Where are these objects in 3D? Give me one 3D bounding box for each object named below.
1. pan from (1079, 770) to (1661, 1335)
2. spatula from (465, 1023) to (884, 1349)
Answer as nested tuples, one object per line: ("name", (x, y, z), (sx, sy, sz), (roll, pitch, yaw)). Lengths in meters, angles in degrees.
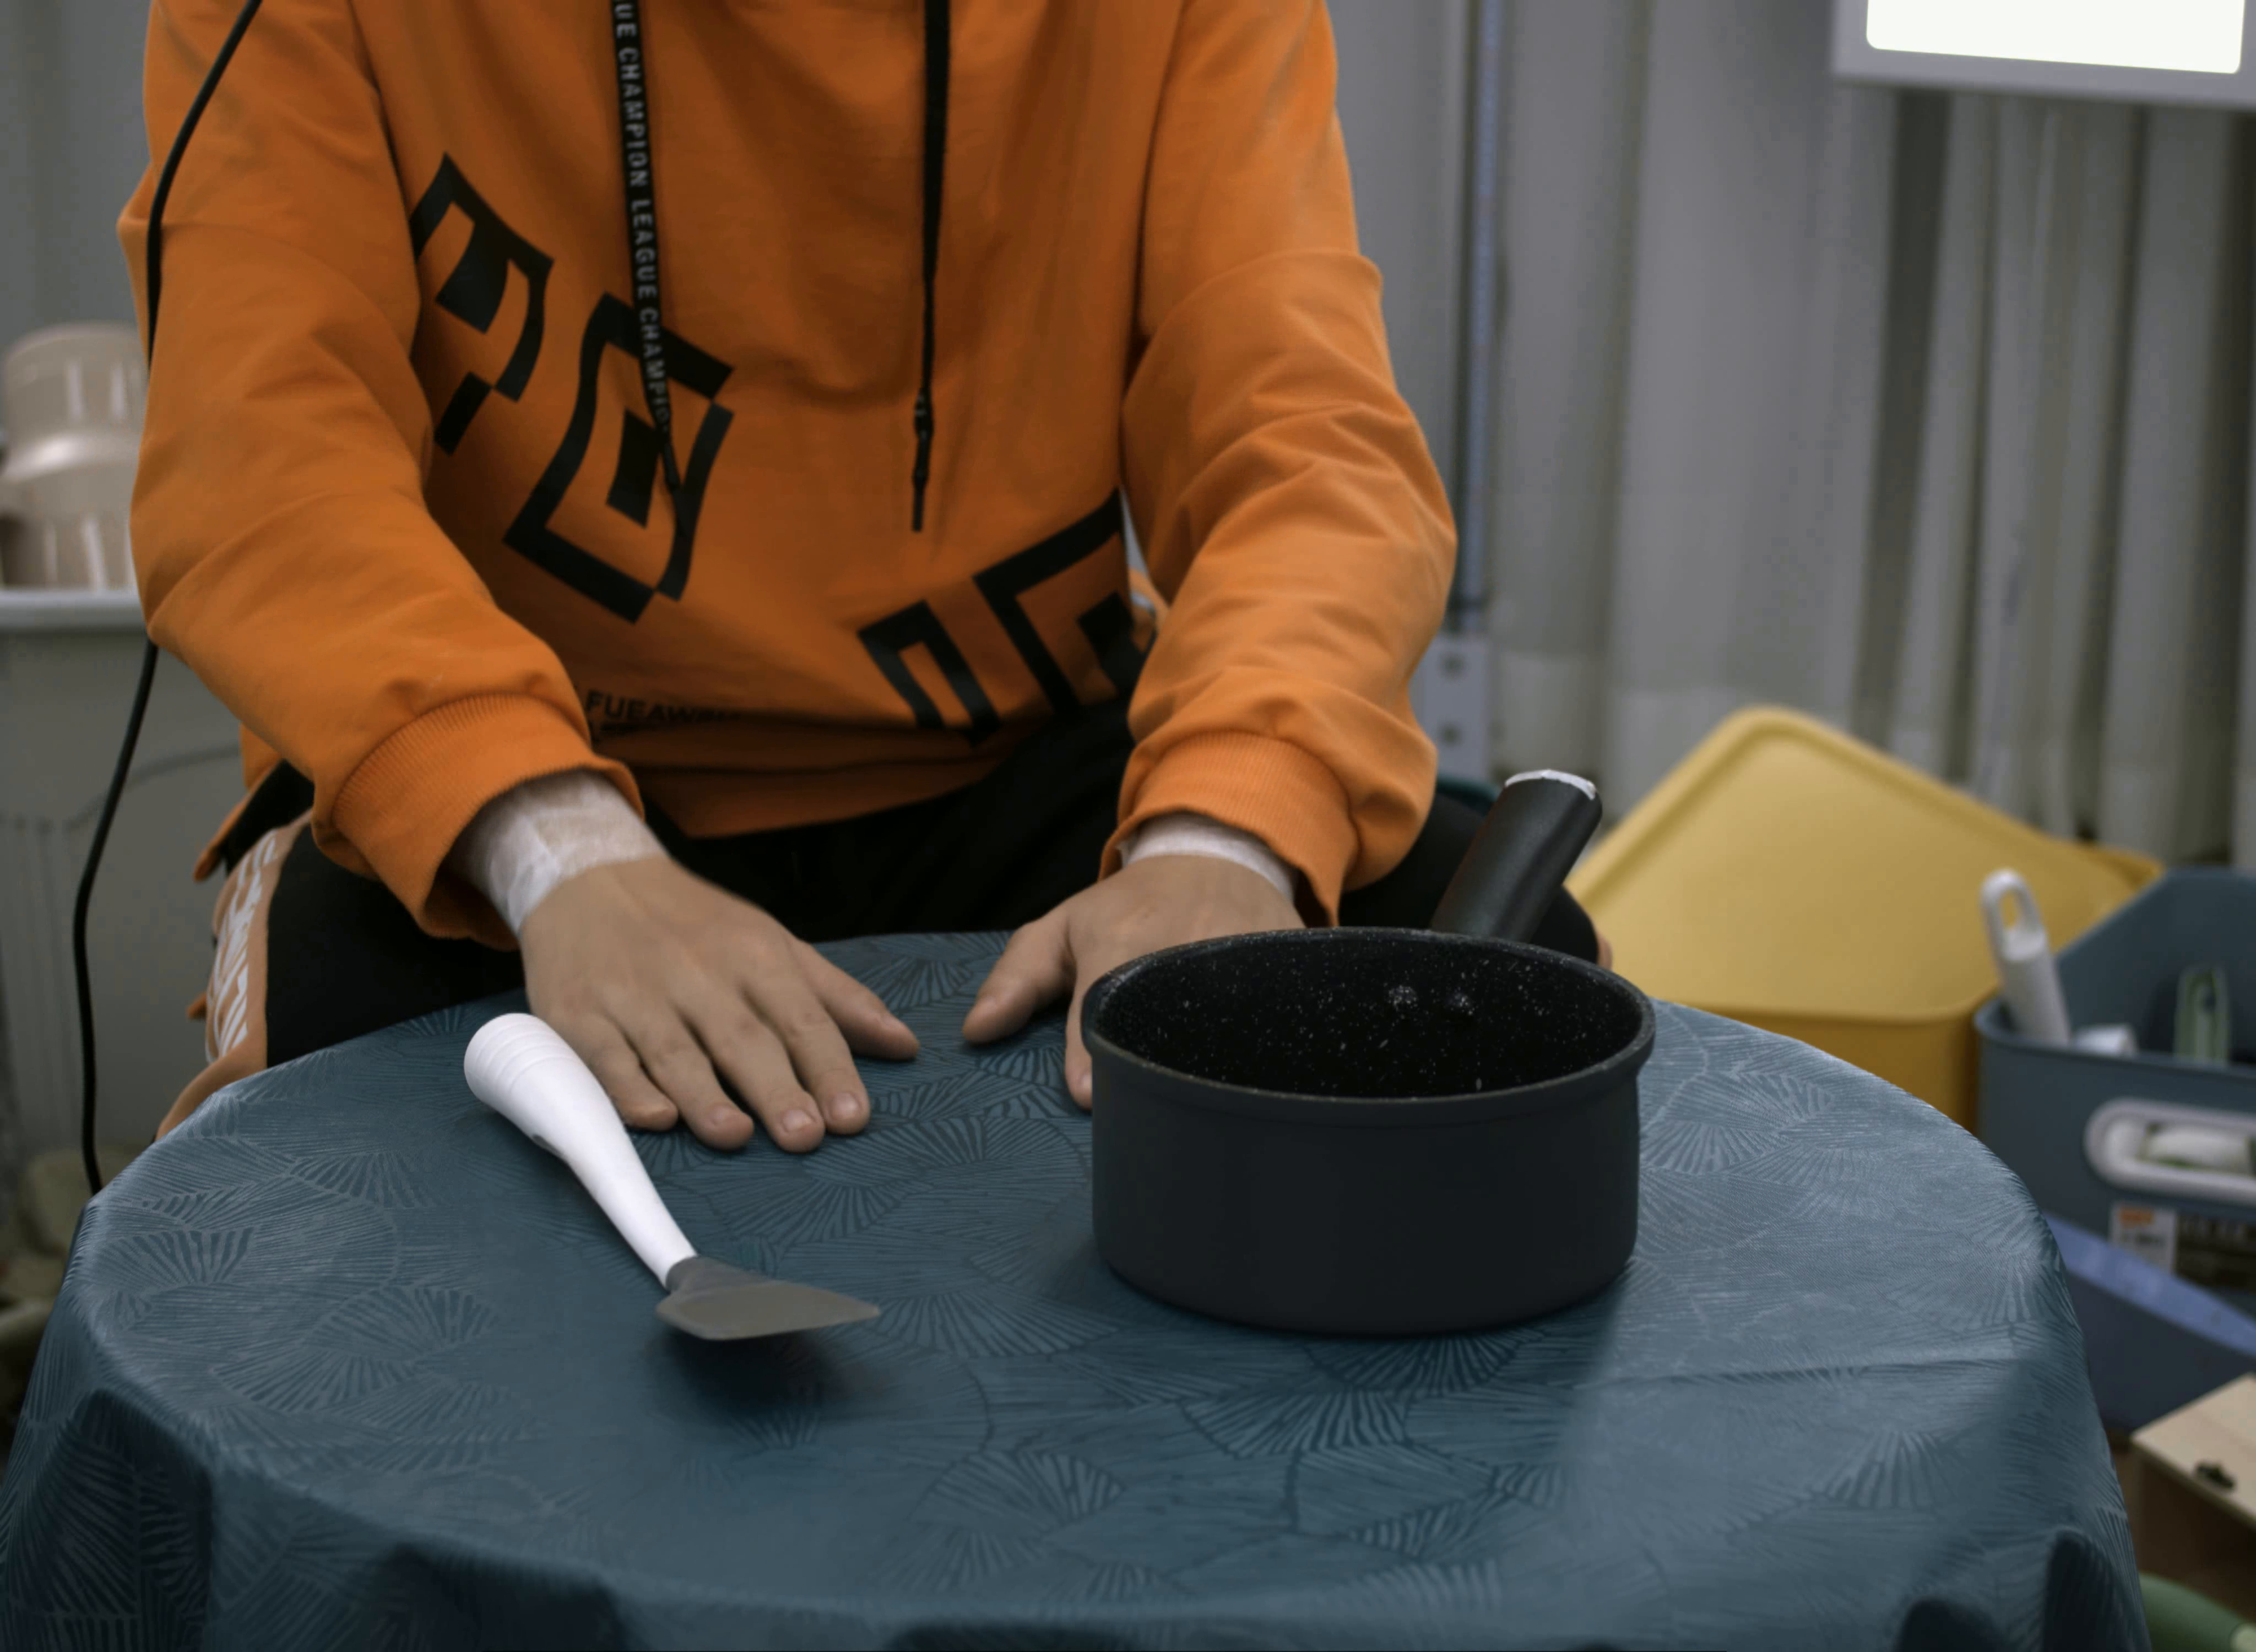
("pan", (0.098, 0.066, 1.634), (0.170, 0.087, 0.329), (7, 18, 19))
("spatula", (-0.143, 0.112, 1.560), (0.059, 0.032, 0.284), (-3, 15, -23))
